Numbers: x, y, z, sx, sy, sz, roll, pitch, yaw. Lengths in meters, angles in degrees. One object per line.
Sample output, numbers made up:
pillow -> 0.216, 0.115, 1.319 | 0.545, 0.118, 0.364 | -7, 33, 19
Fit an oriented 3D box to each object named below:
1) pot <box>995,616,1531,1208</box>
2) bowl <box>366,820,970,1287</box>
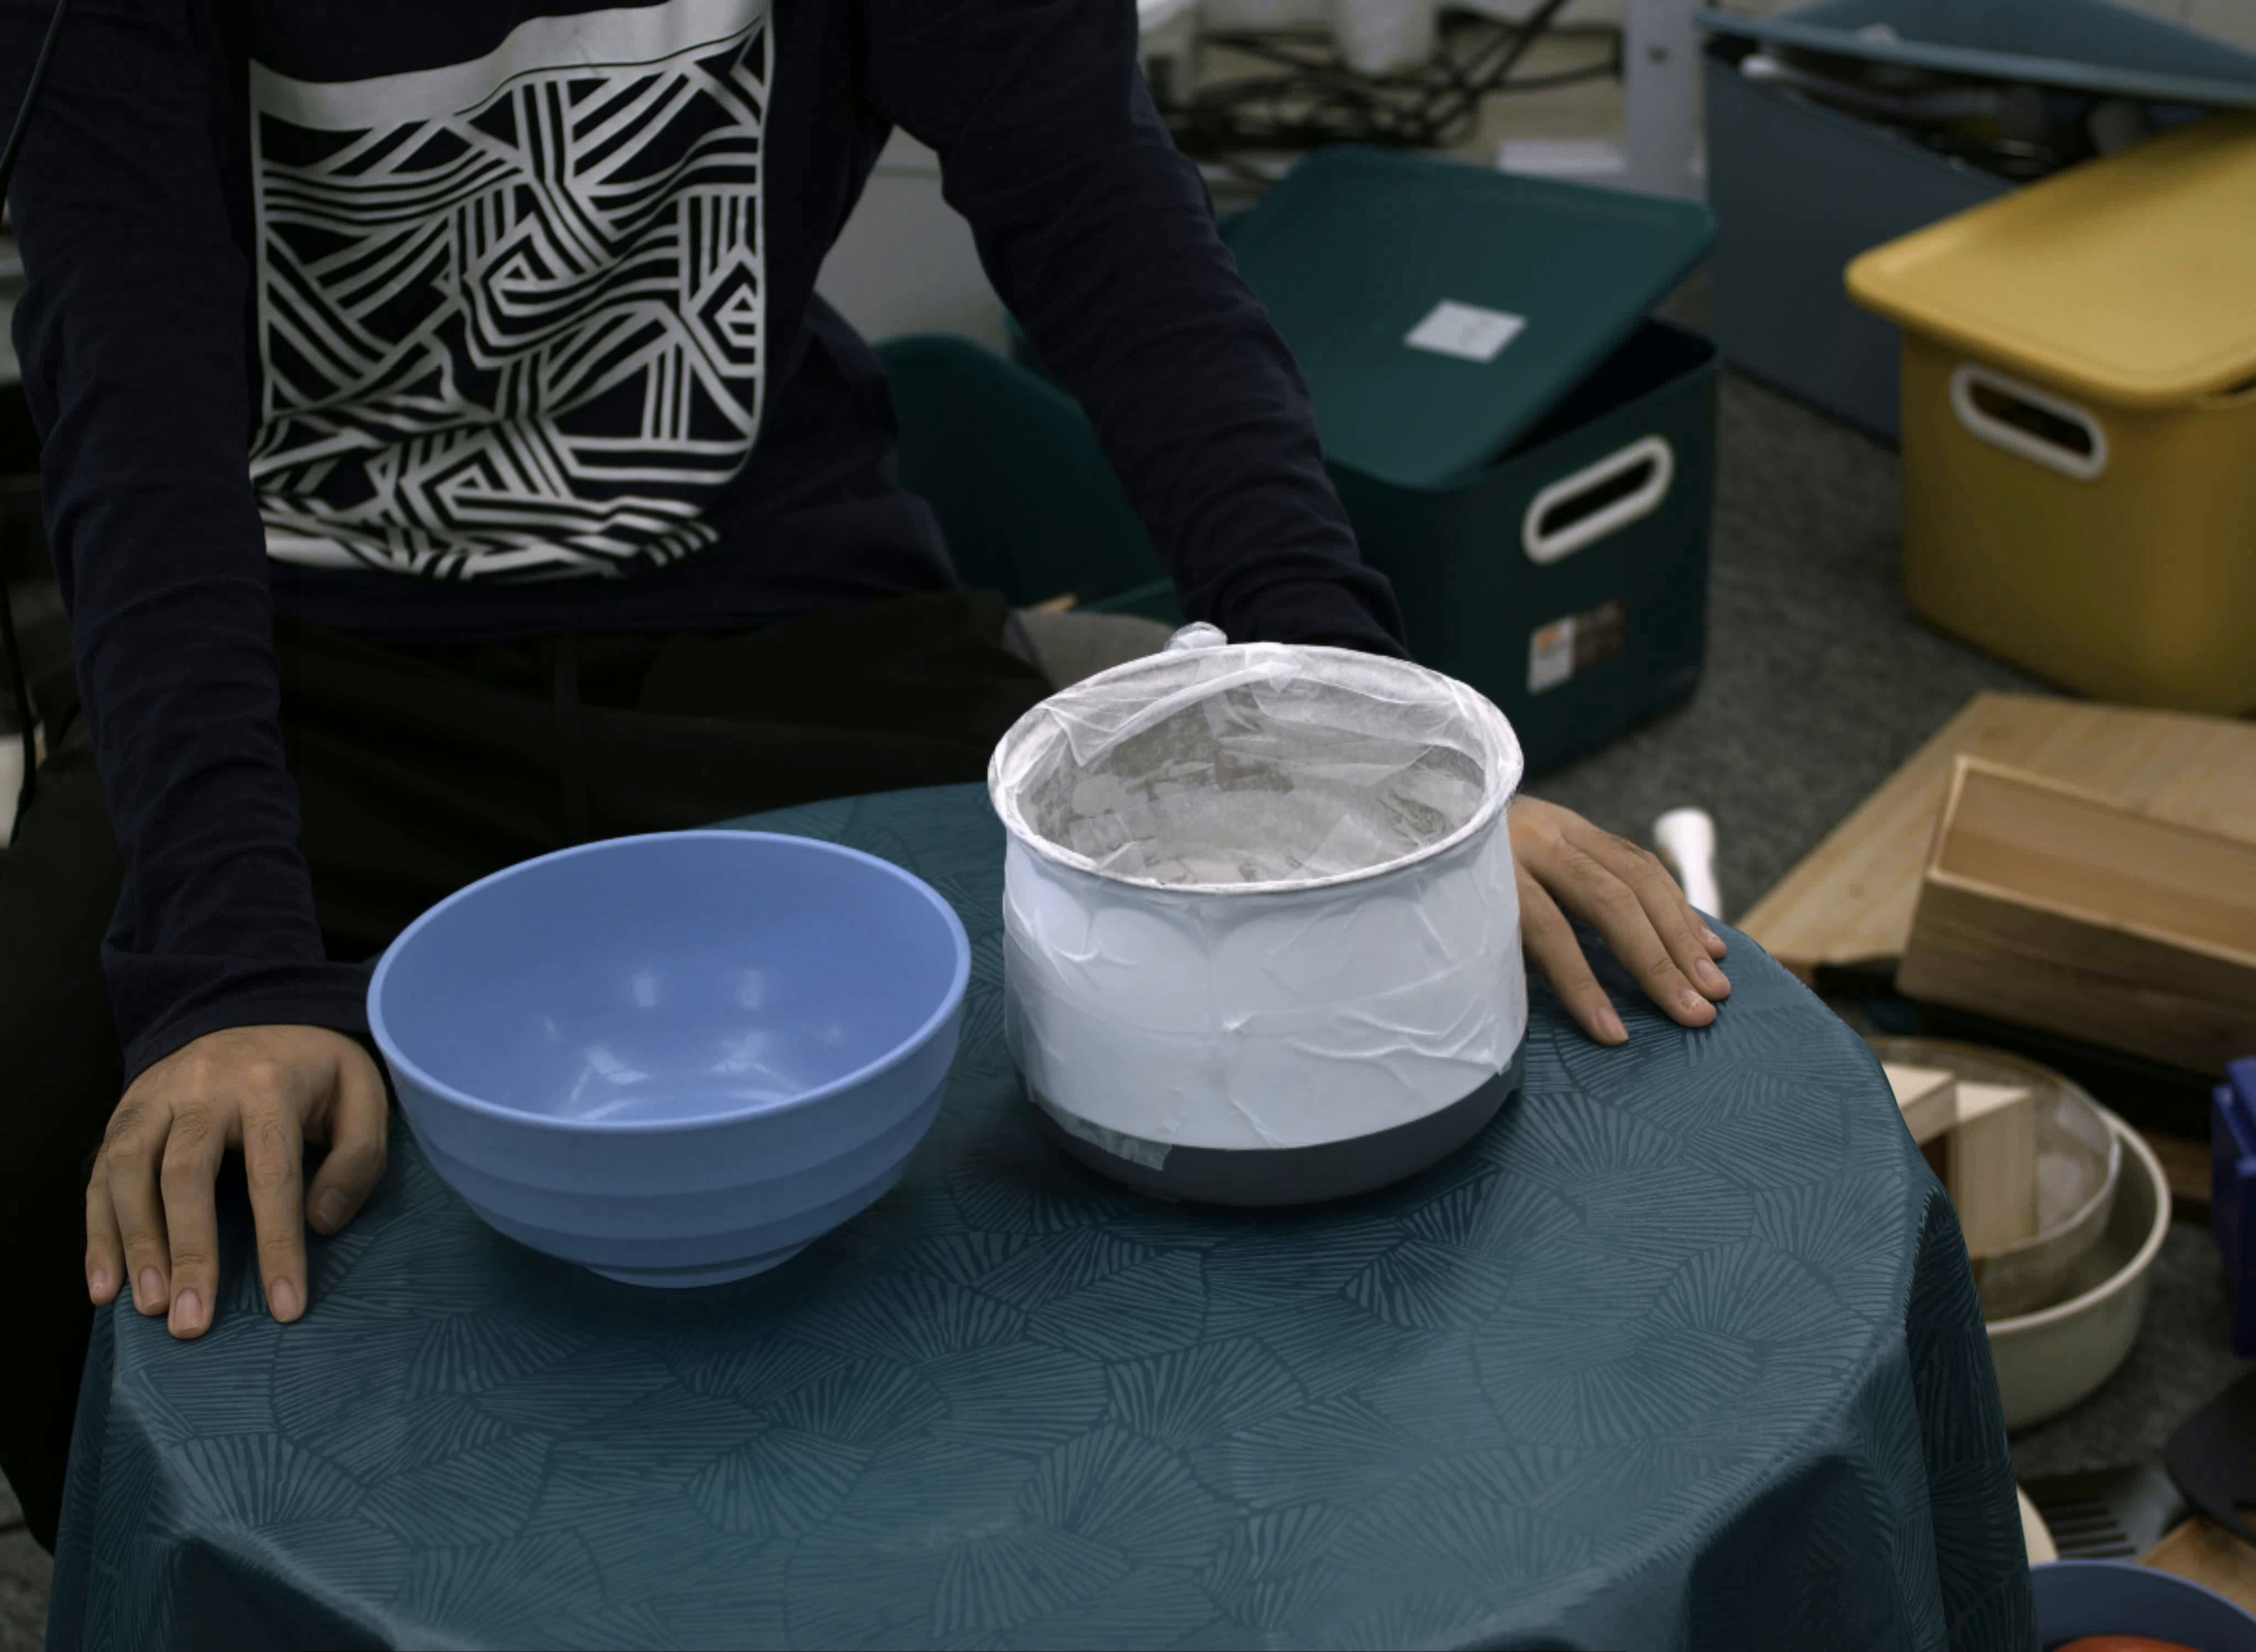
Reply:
pot -> 0.039, 0.022, 1.902 | 0.178, 0.135, 0.236 | -5, 27, -11
bowl -> -0.146, 0.086, 1.837 | 0.195, 0.094, 0.199 | -3, 29, 2
